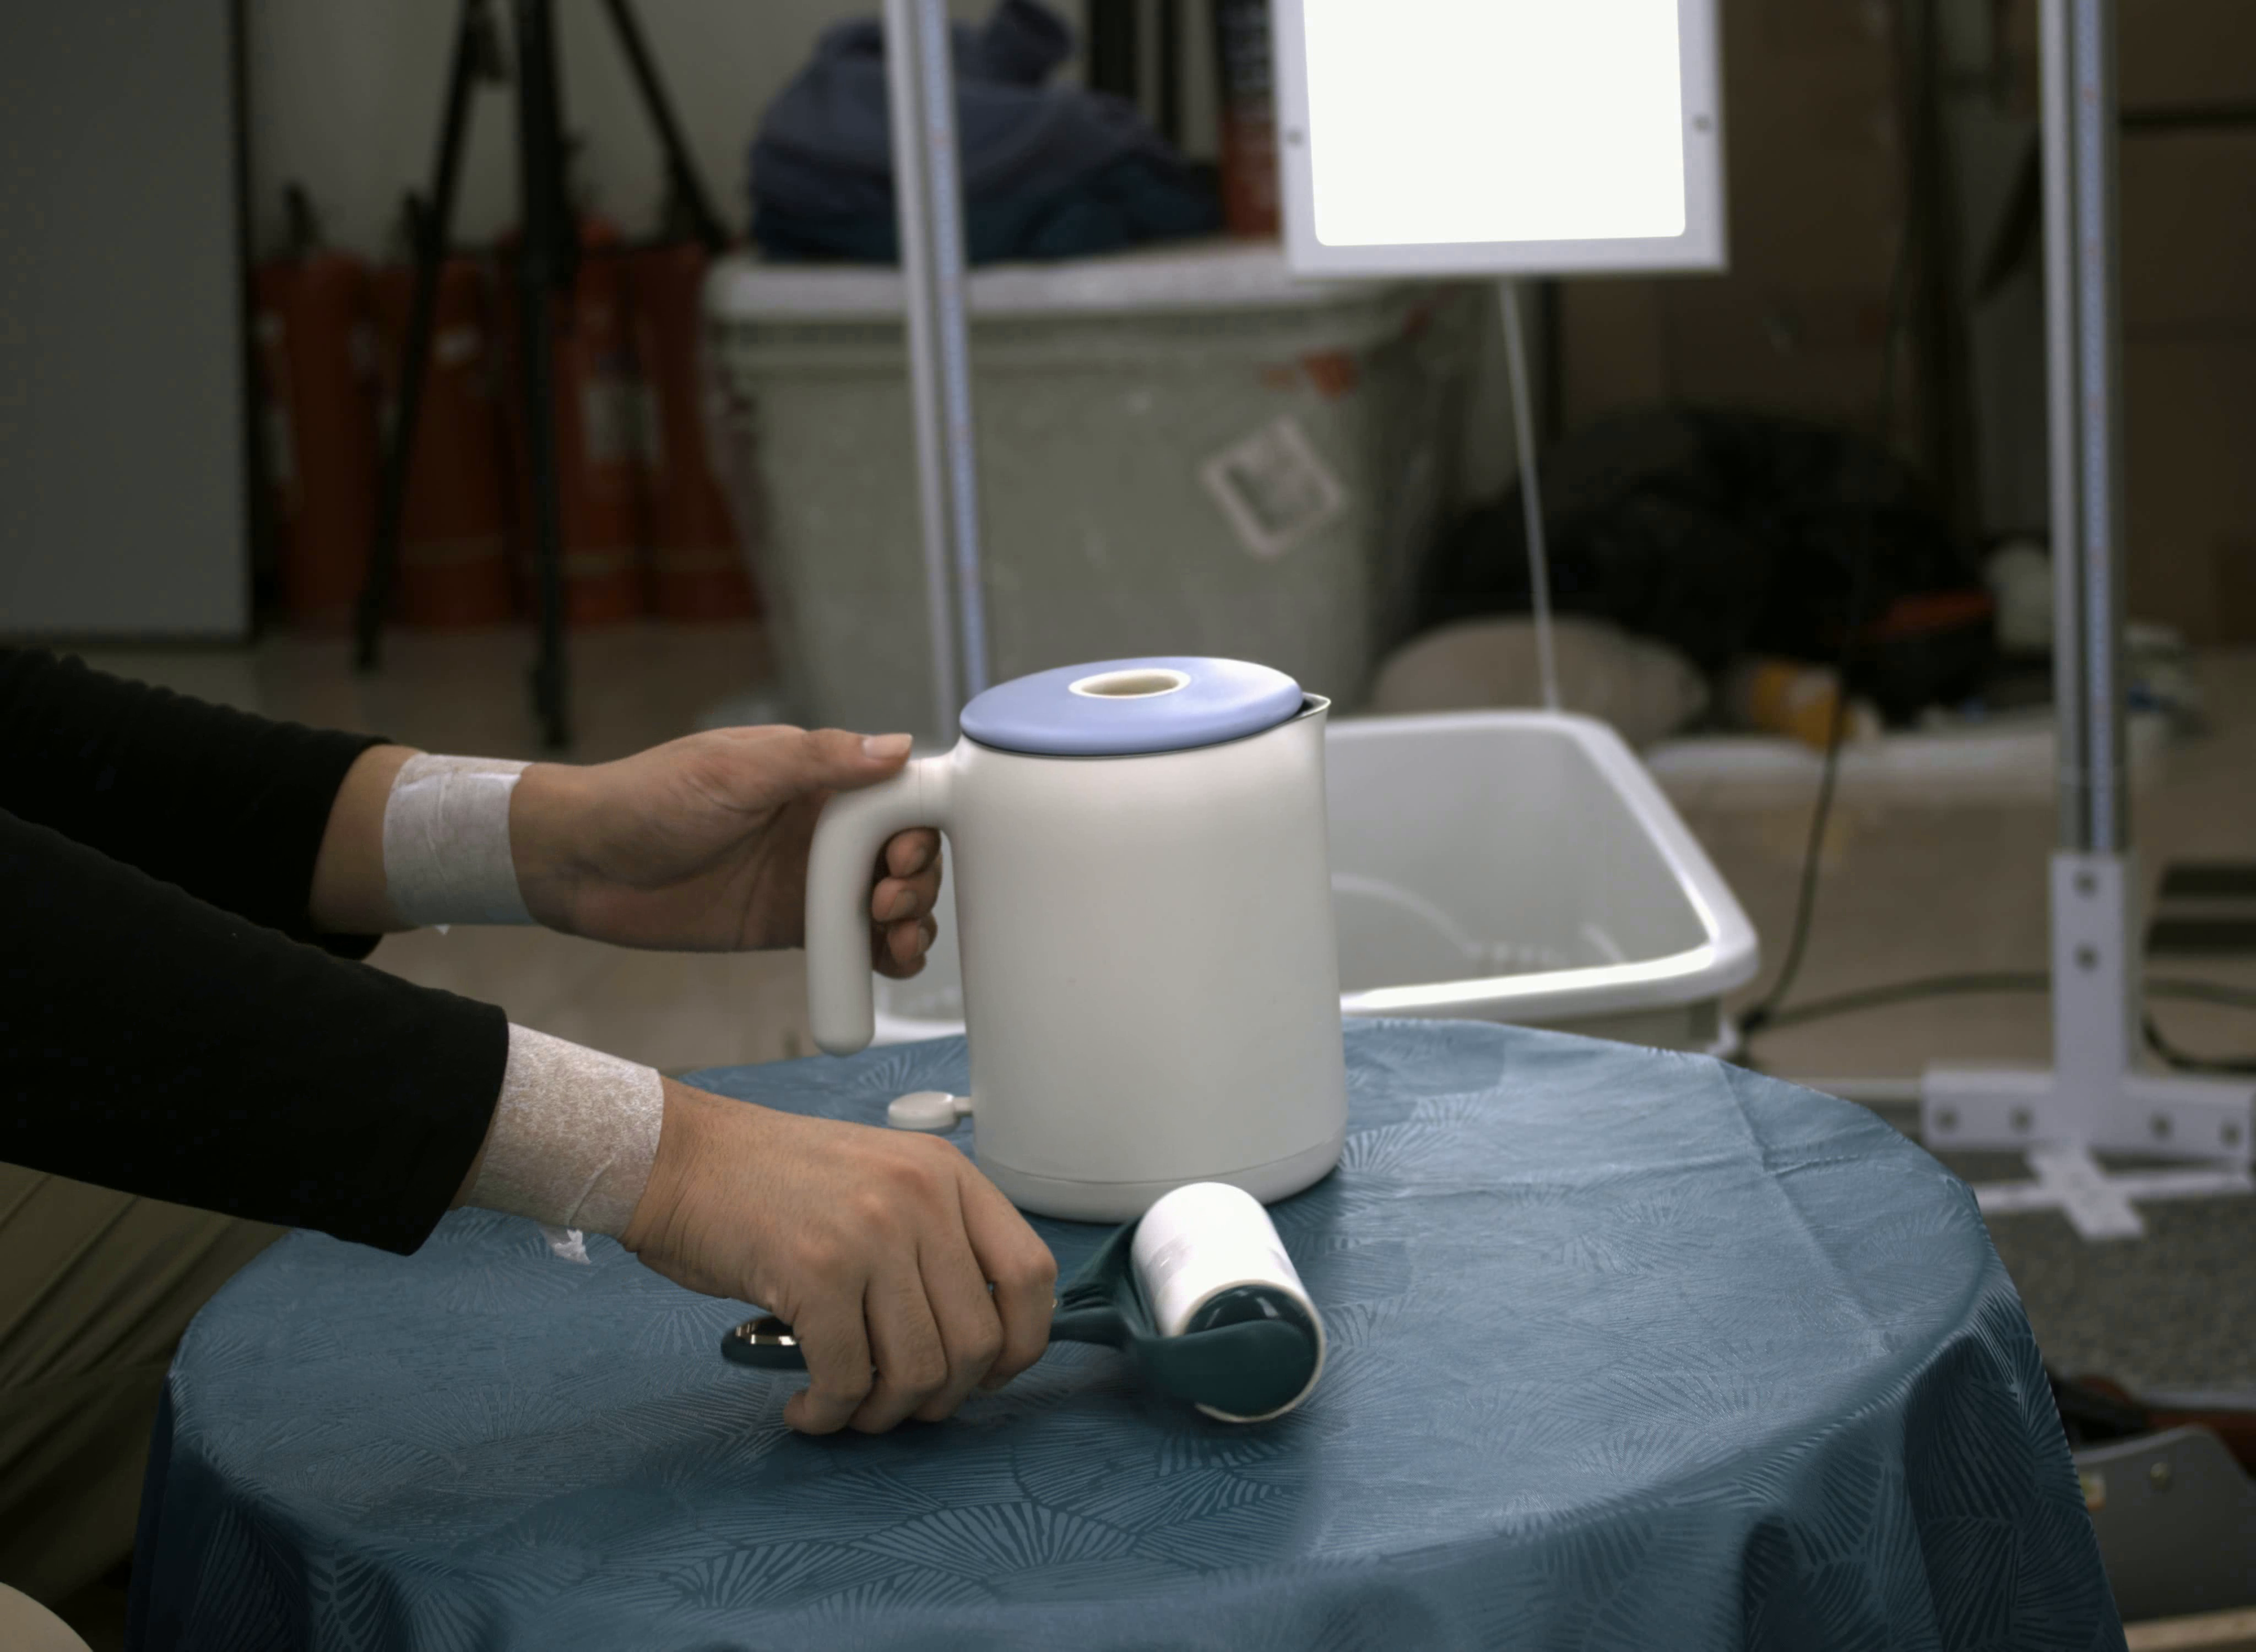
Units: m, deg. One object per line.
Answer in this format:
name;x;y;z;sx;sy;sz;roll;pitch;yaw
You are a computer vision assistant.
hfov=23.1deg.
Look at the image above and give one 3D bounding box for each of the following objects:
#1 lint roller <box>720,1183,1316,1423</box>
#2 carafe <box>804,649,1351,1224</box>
lint roller;-0.037;0.149;1.700;0.179;0.048;0.134;-3;13;-3
carafe;-0.018;0.040;1.897;0.191;0.183;0.132;-6;13;3
